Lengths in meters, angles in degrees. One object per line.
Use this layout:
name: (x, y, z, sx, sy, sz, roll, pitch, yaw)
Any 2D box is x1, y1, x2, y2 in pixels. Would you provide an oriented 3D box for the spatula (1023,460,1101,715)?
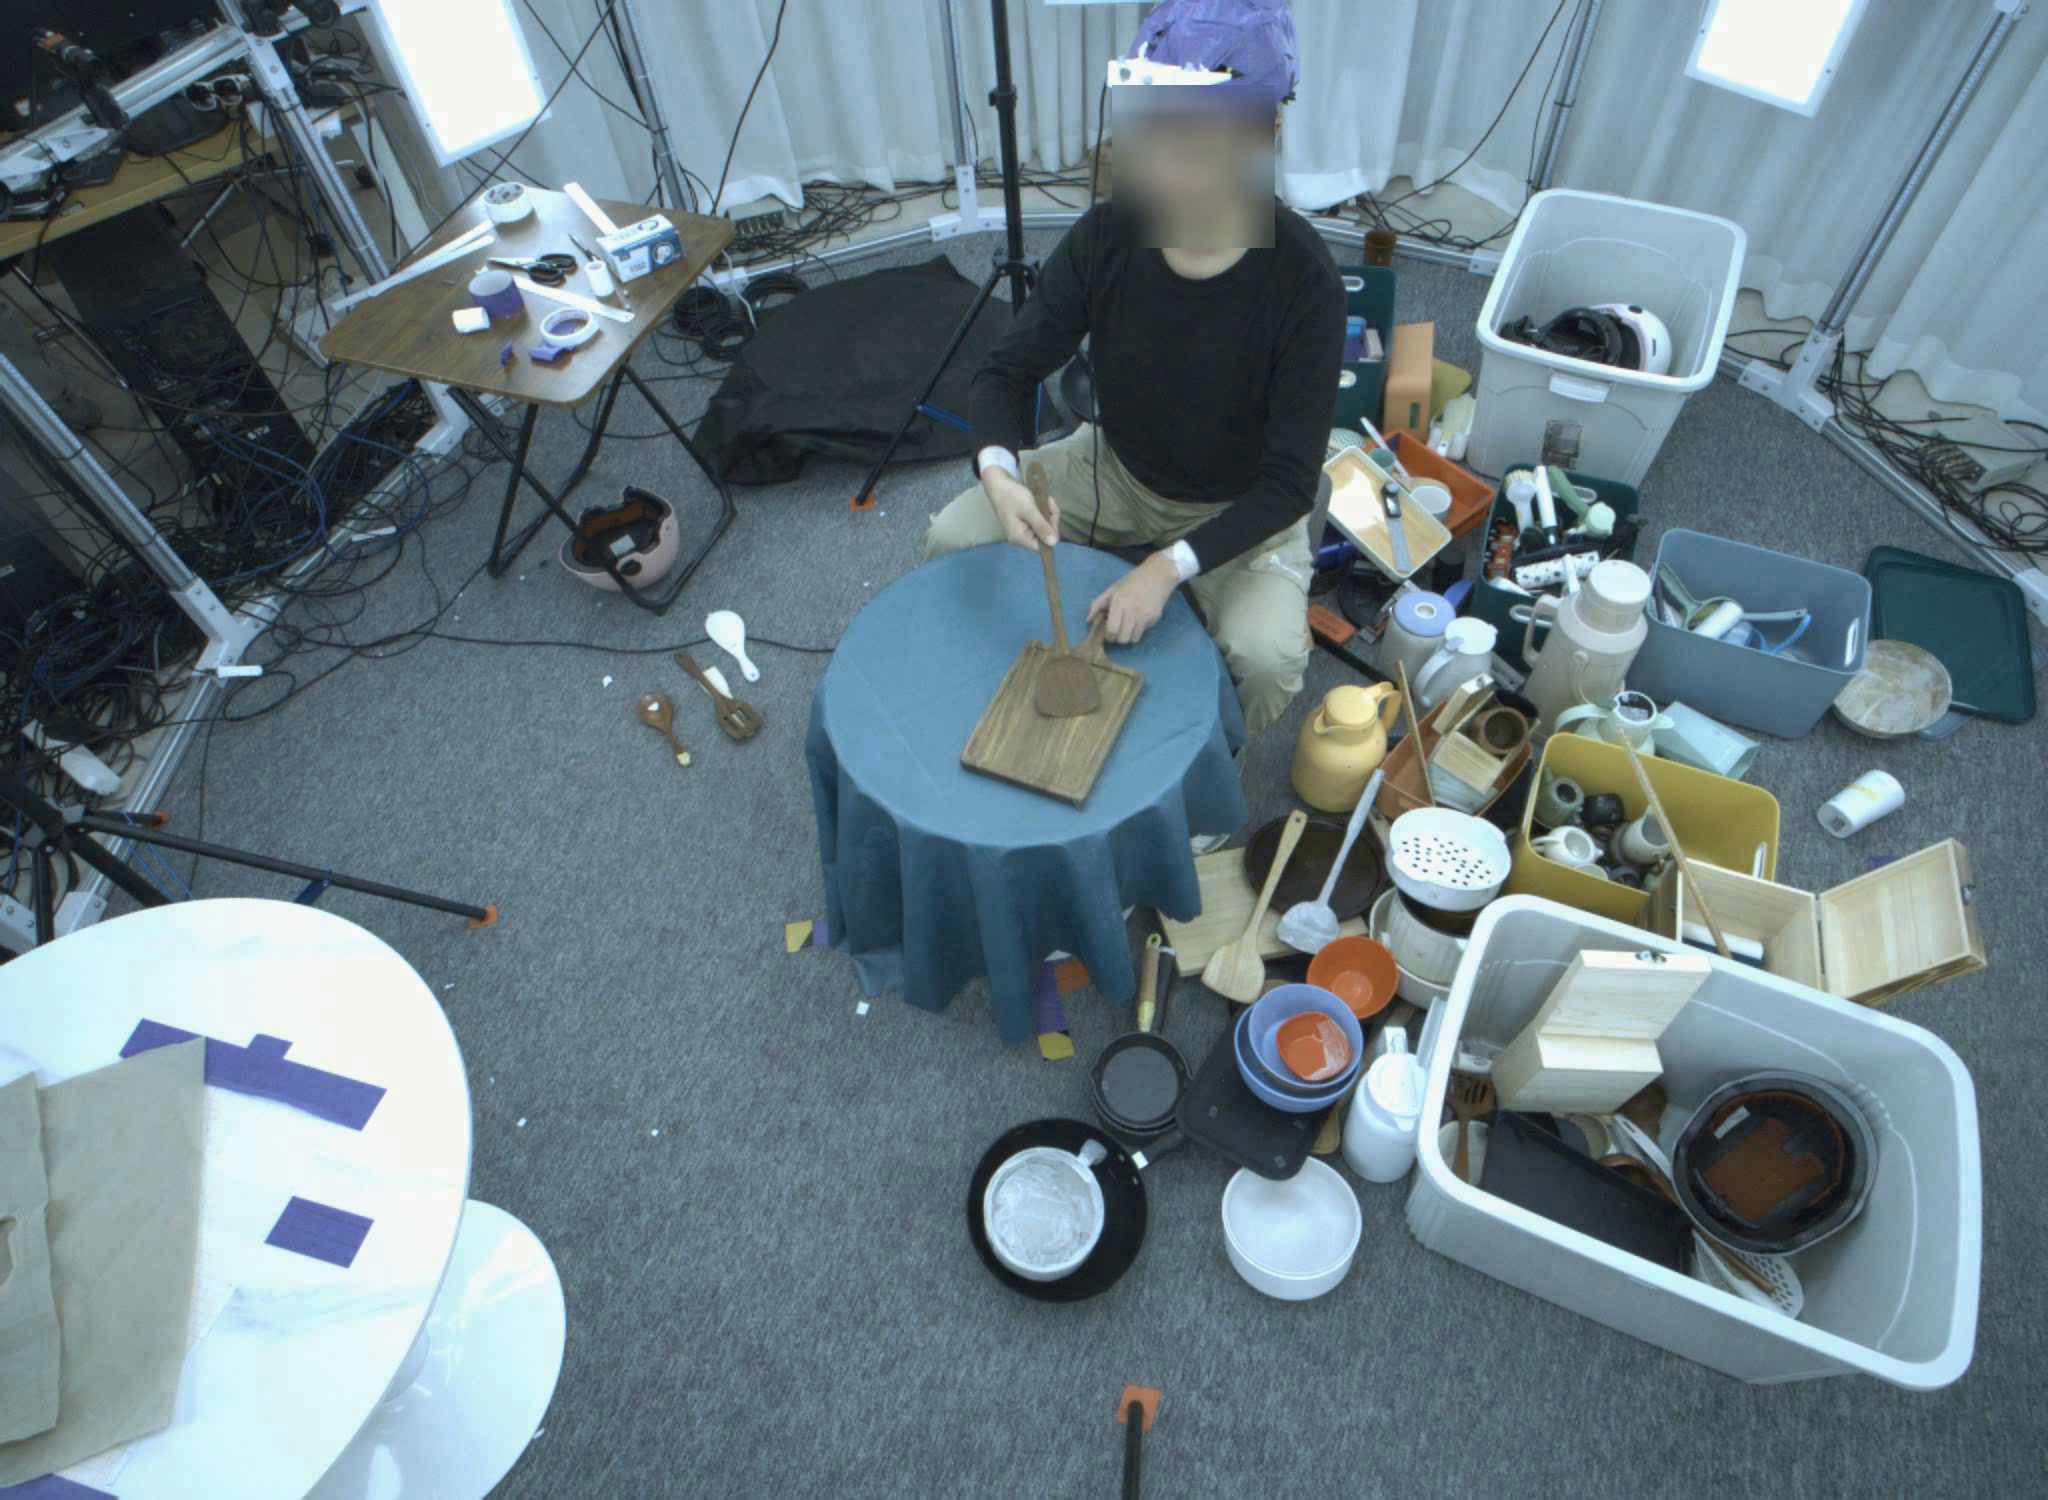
spatula: (0.039, -0.243, 1.810, 0.096, 0.016, 0.385, -9, 89, 0)

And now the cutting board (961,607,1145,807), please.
cutting board: (0.065, -0.083, 1.830, 0.199, 0.023, 0.352, 19, 58, 14)
